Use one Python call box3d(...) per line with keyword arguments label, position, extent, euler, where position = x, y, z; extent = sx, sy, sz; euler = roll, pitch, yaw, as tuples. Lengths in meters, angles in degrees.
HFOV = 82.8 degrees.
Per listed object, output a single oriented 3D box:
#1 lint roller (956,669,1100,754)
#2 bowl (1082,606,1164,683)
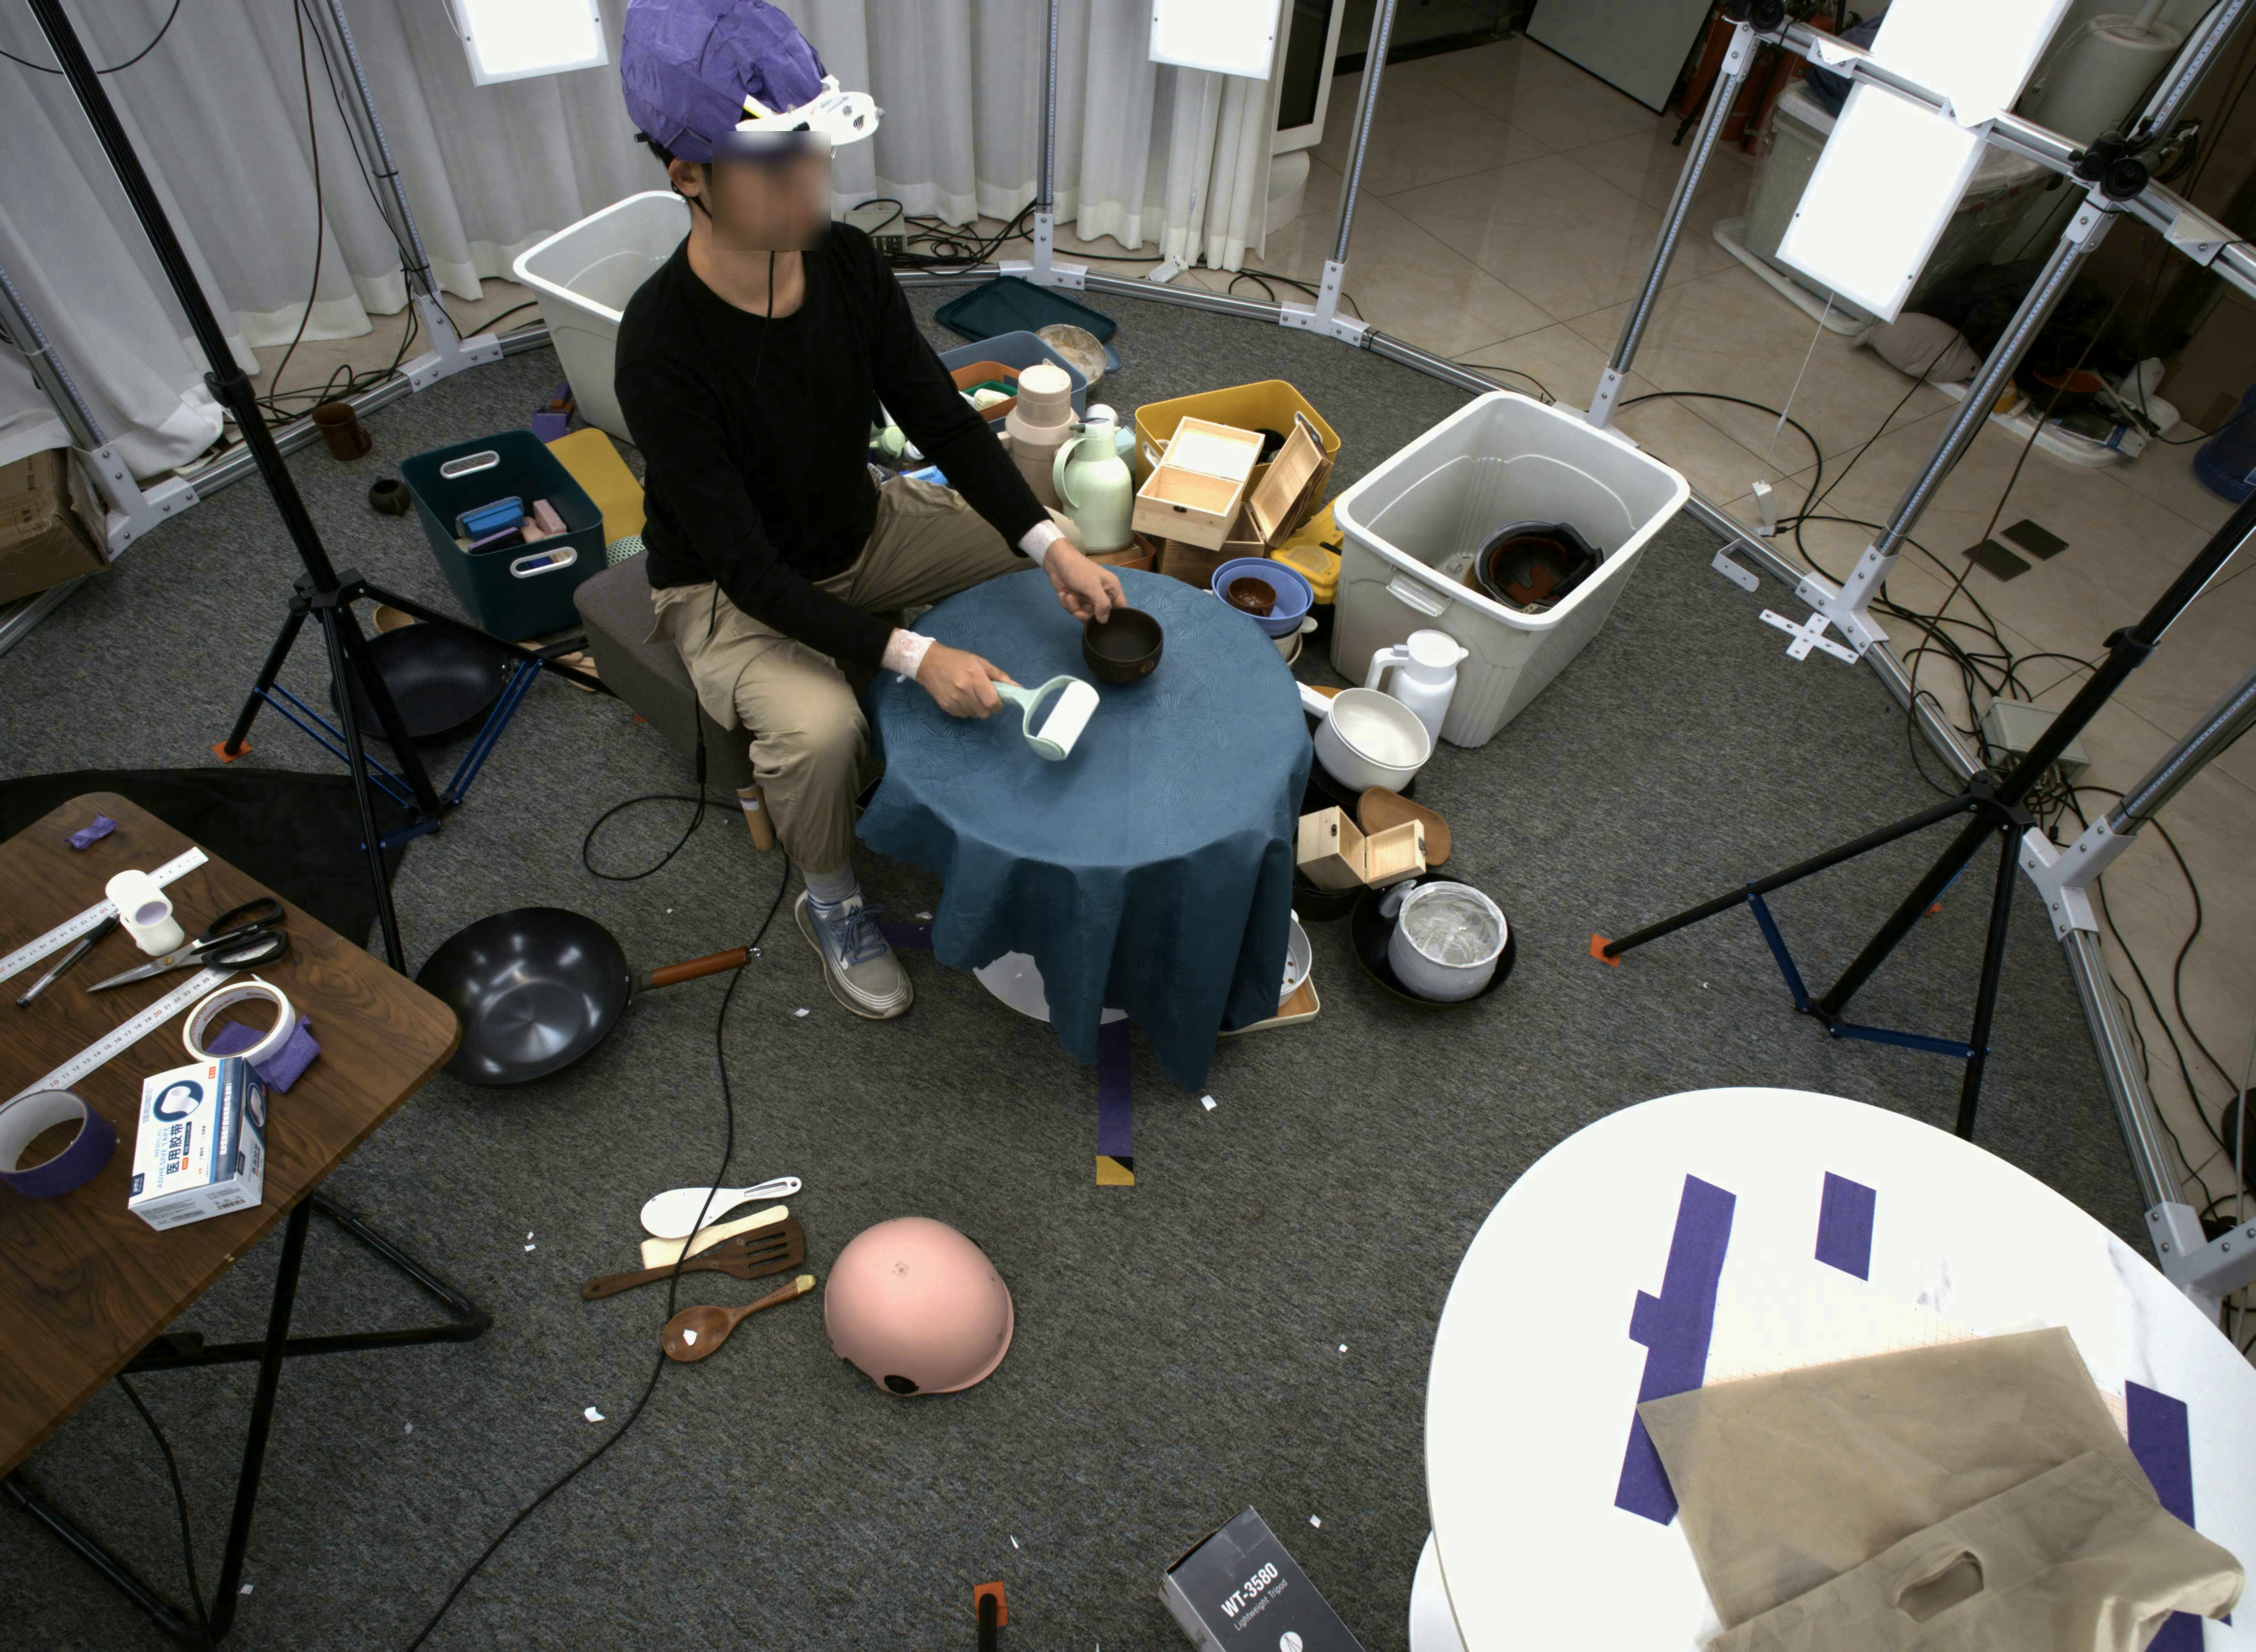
box3d(label="lint roller", position=(-0.145, -0.174, 1.735), extent=(0.199, 0.047, 0.118), euler=(20, 62, 17))
box3d(label="bowl", position=(-0.007, -0.252, 1.841), extent=(0.118, 0.068, 0.121), euler=(1, 50, -2))
